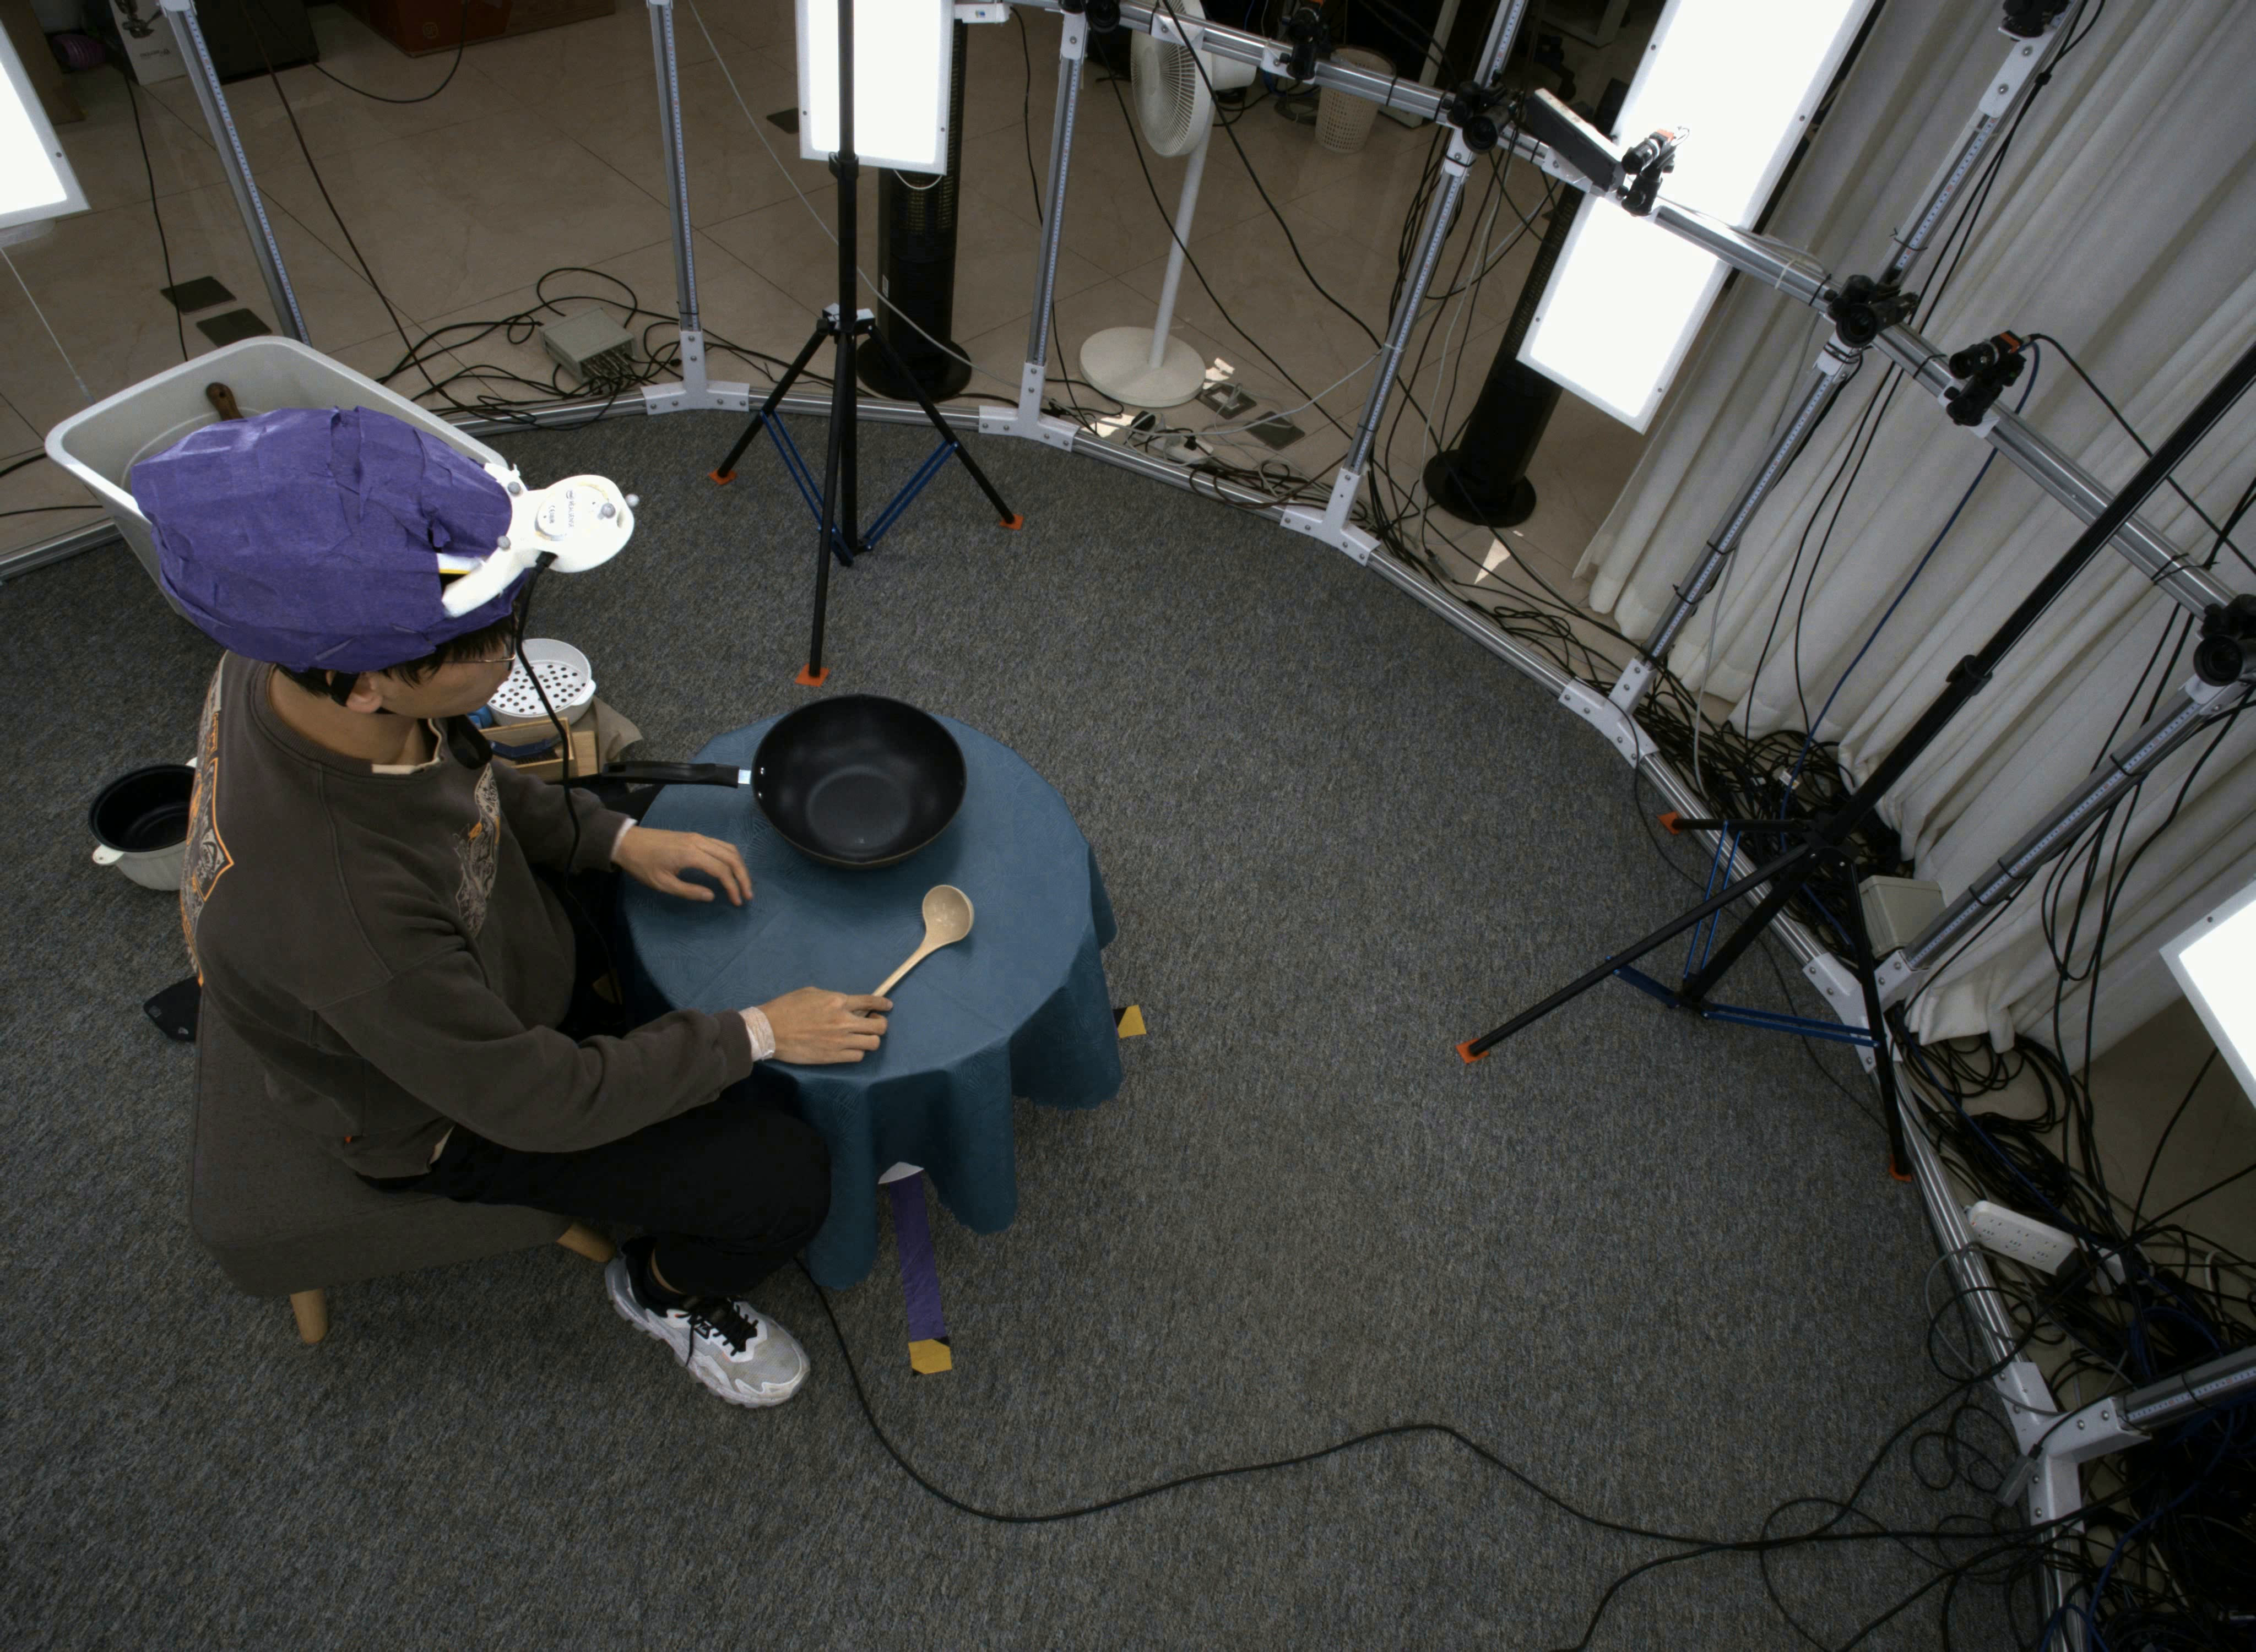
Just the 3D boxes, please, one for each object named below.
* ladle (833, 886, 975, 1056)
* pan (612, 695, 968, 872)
[{"bbox_3d":[-0.280,0.171,1.601,0.071,0.074,0.254,32,52,11],"label":"ladle"},{"bbox_3d":[-0.444,-0.044,1.713,0.463,0.089,0.282,0,54,-12],"label":"pan"}]
